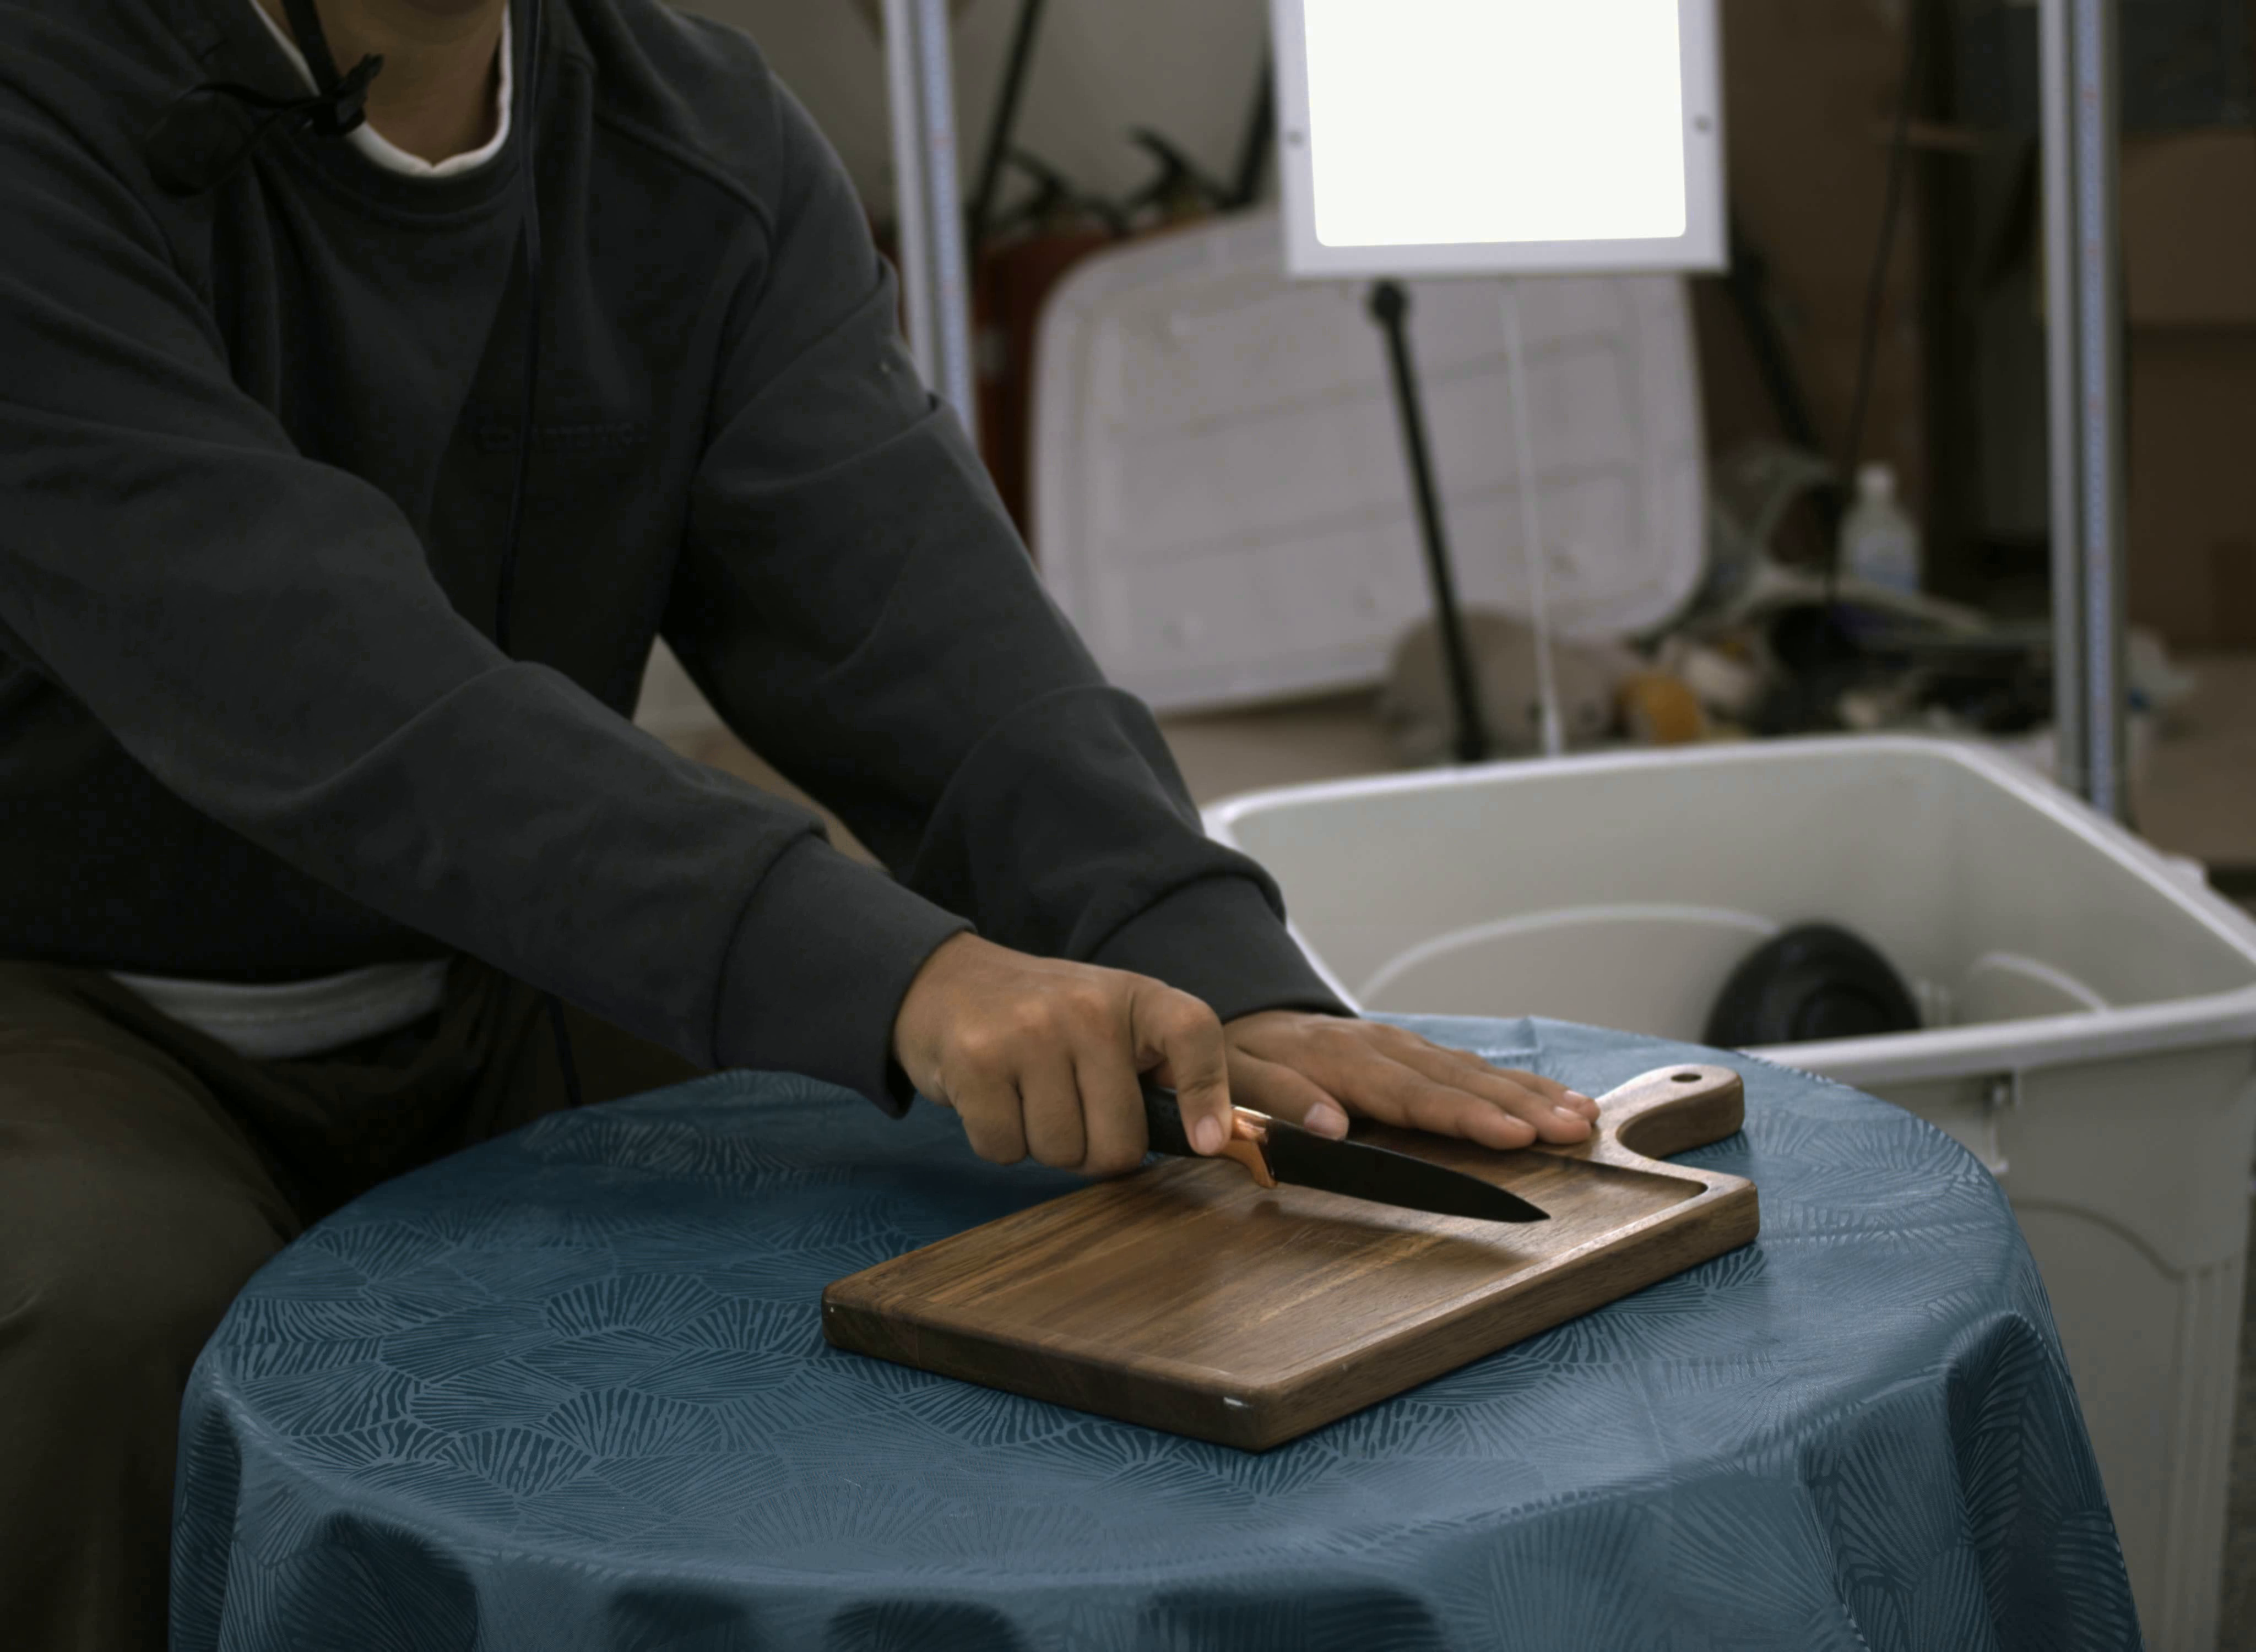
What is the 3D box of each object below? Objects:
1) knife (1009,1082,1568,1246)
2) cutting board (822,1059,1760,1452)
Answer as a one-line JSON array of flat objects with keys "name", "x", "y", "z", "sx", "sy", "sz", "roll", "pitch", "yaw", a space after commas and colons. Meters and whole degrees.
[{"name": "knife", "x": 0.051, "y": 0.112, "z": 1.823, "sx": 0.230, "sy": 0.026, "sz": 0.017, "roll": 10, "pitch": 27, "yaw": 38}, {"name": "cutting board", "x": 0.088, "y": 0.130, "z": 1.809, "sx": 0.205, "sy": 0.023, "sz": 0.343, "roll": 8, "pitch": 19, "yaw": 44}]
